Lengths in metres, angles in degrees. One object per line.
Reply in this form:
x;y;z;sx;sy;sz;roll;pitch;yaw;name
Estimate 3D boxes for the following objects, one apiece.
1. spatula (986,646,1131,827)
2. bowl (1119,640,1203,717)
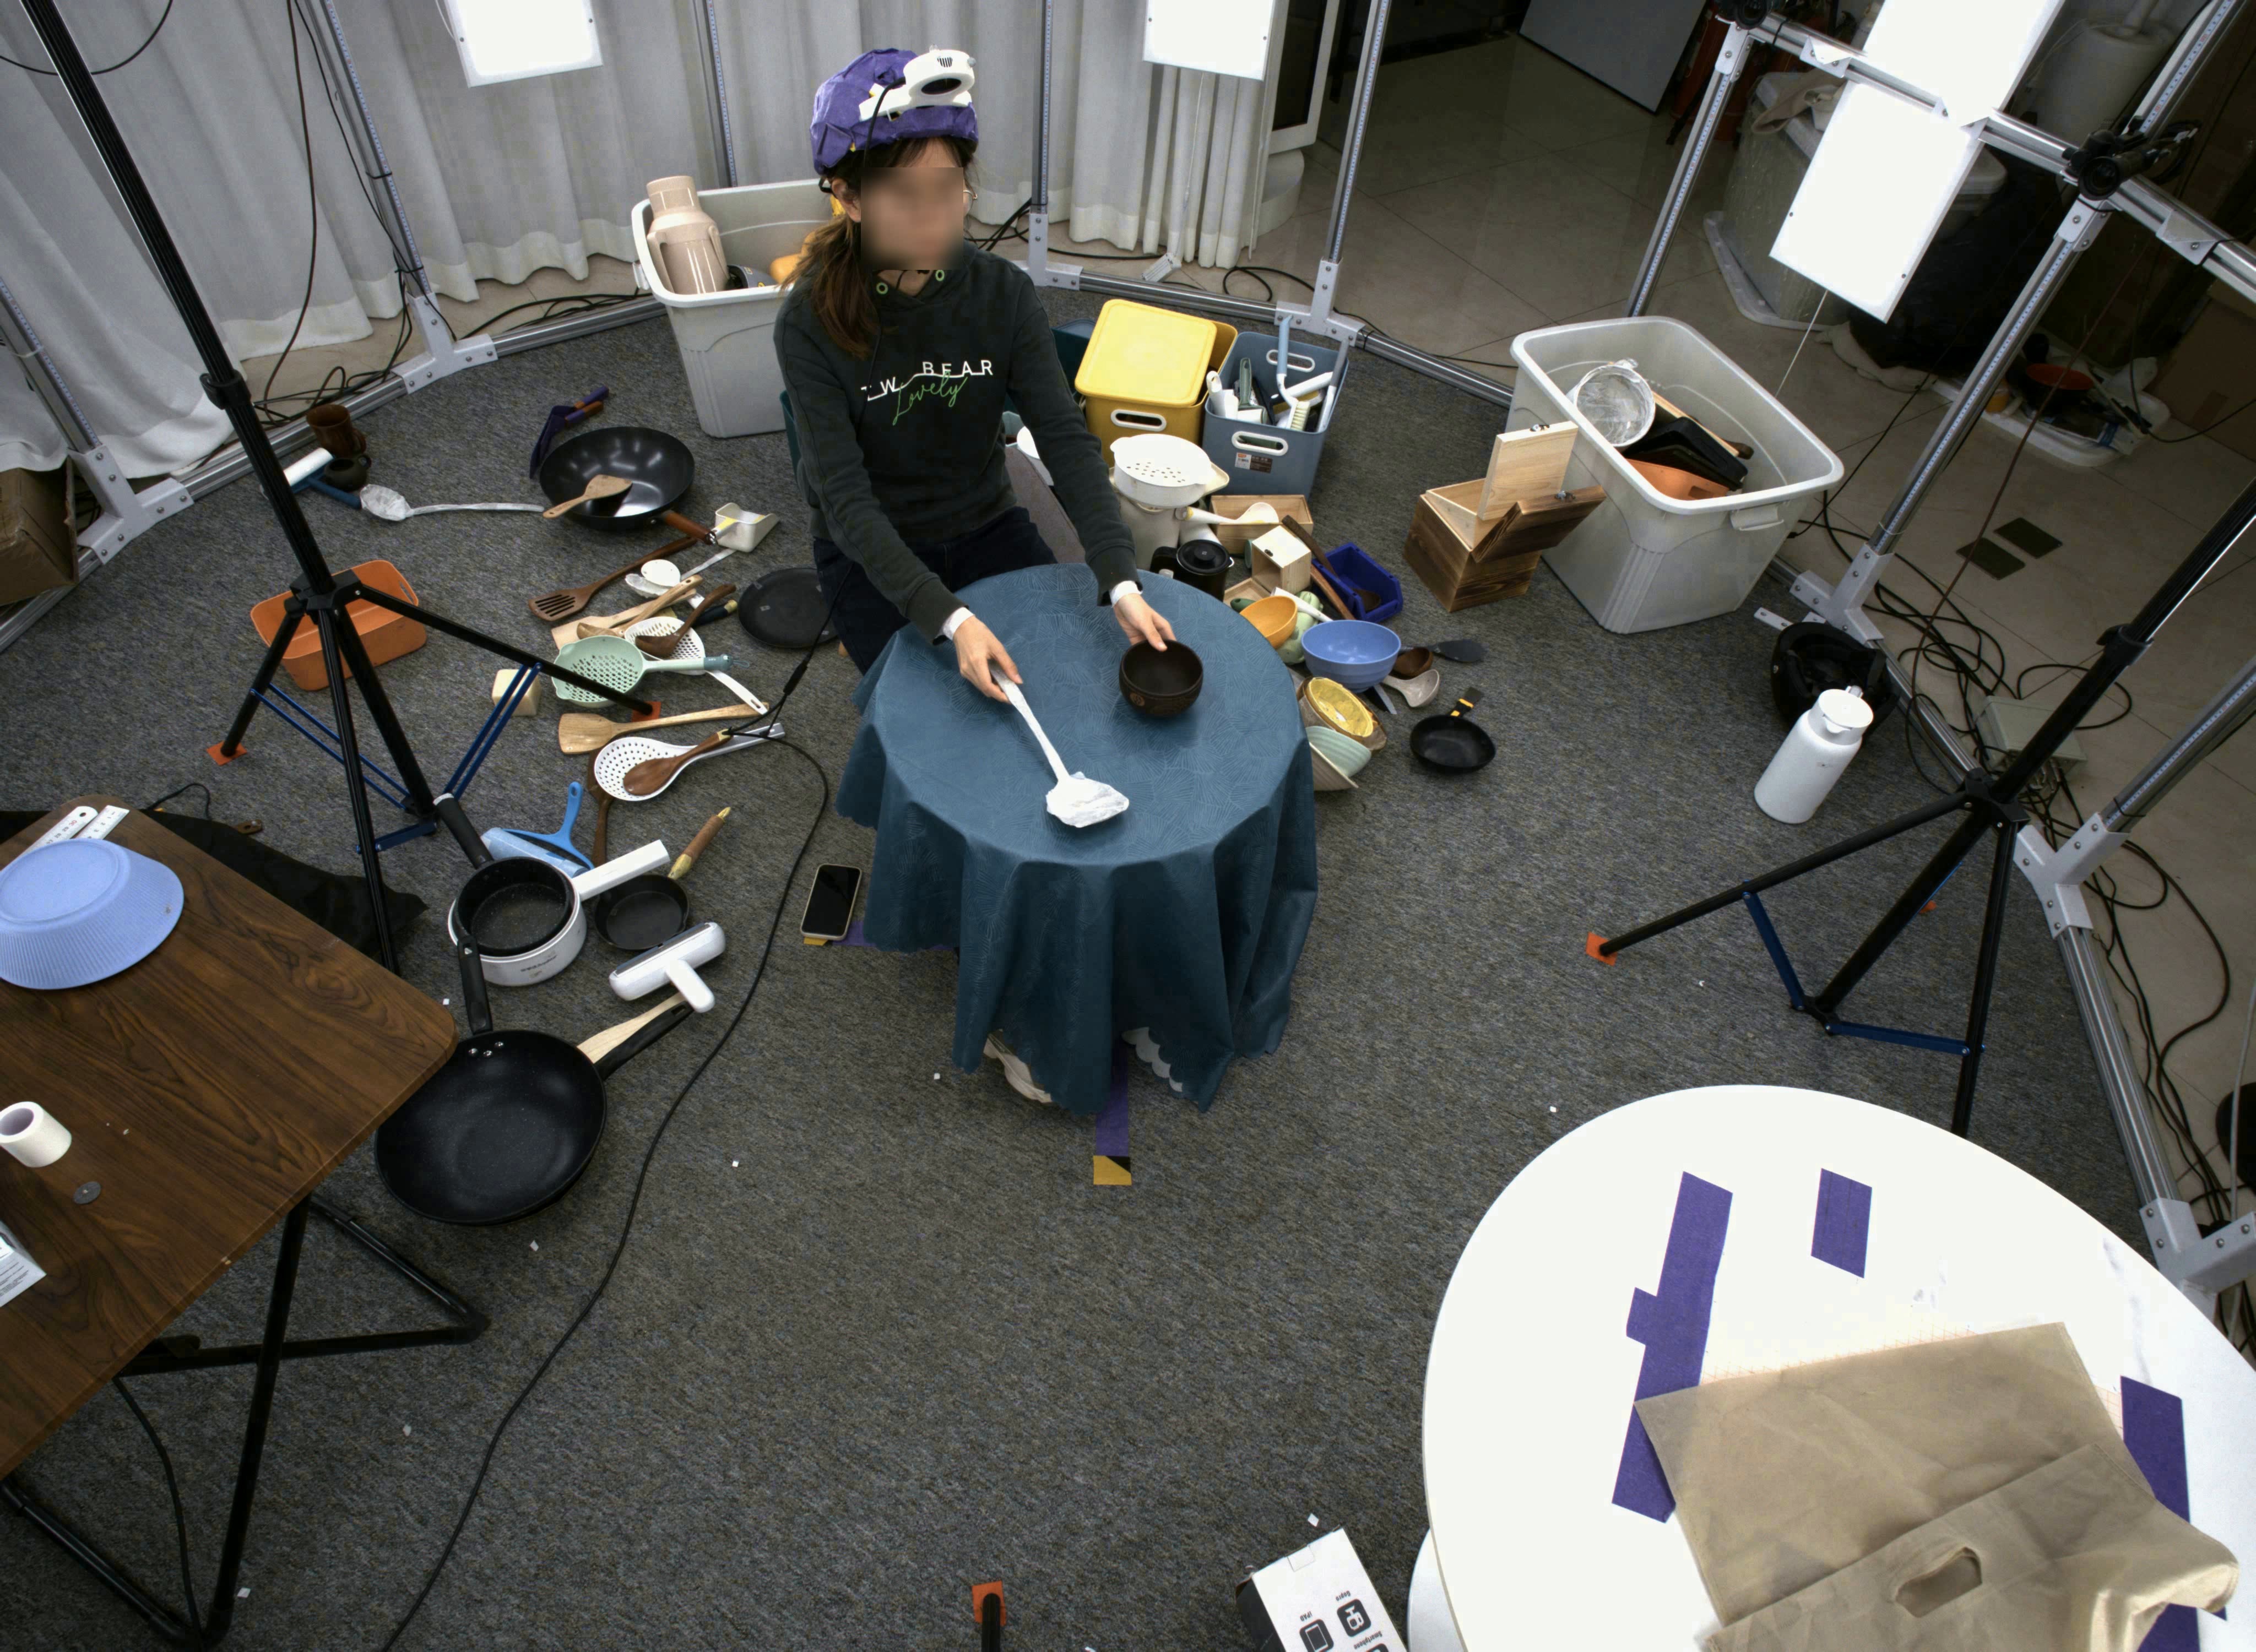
-0.117;-0.132;1.753;0.099;0.044;0.372;-19;59;-21;spatula
0.045;-0.200;1.815;0.118;0.068;0.121;3;48;-3;bowl
